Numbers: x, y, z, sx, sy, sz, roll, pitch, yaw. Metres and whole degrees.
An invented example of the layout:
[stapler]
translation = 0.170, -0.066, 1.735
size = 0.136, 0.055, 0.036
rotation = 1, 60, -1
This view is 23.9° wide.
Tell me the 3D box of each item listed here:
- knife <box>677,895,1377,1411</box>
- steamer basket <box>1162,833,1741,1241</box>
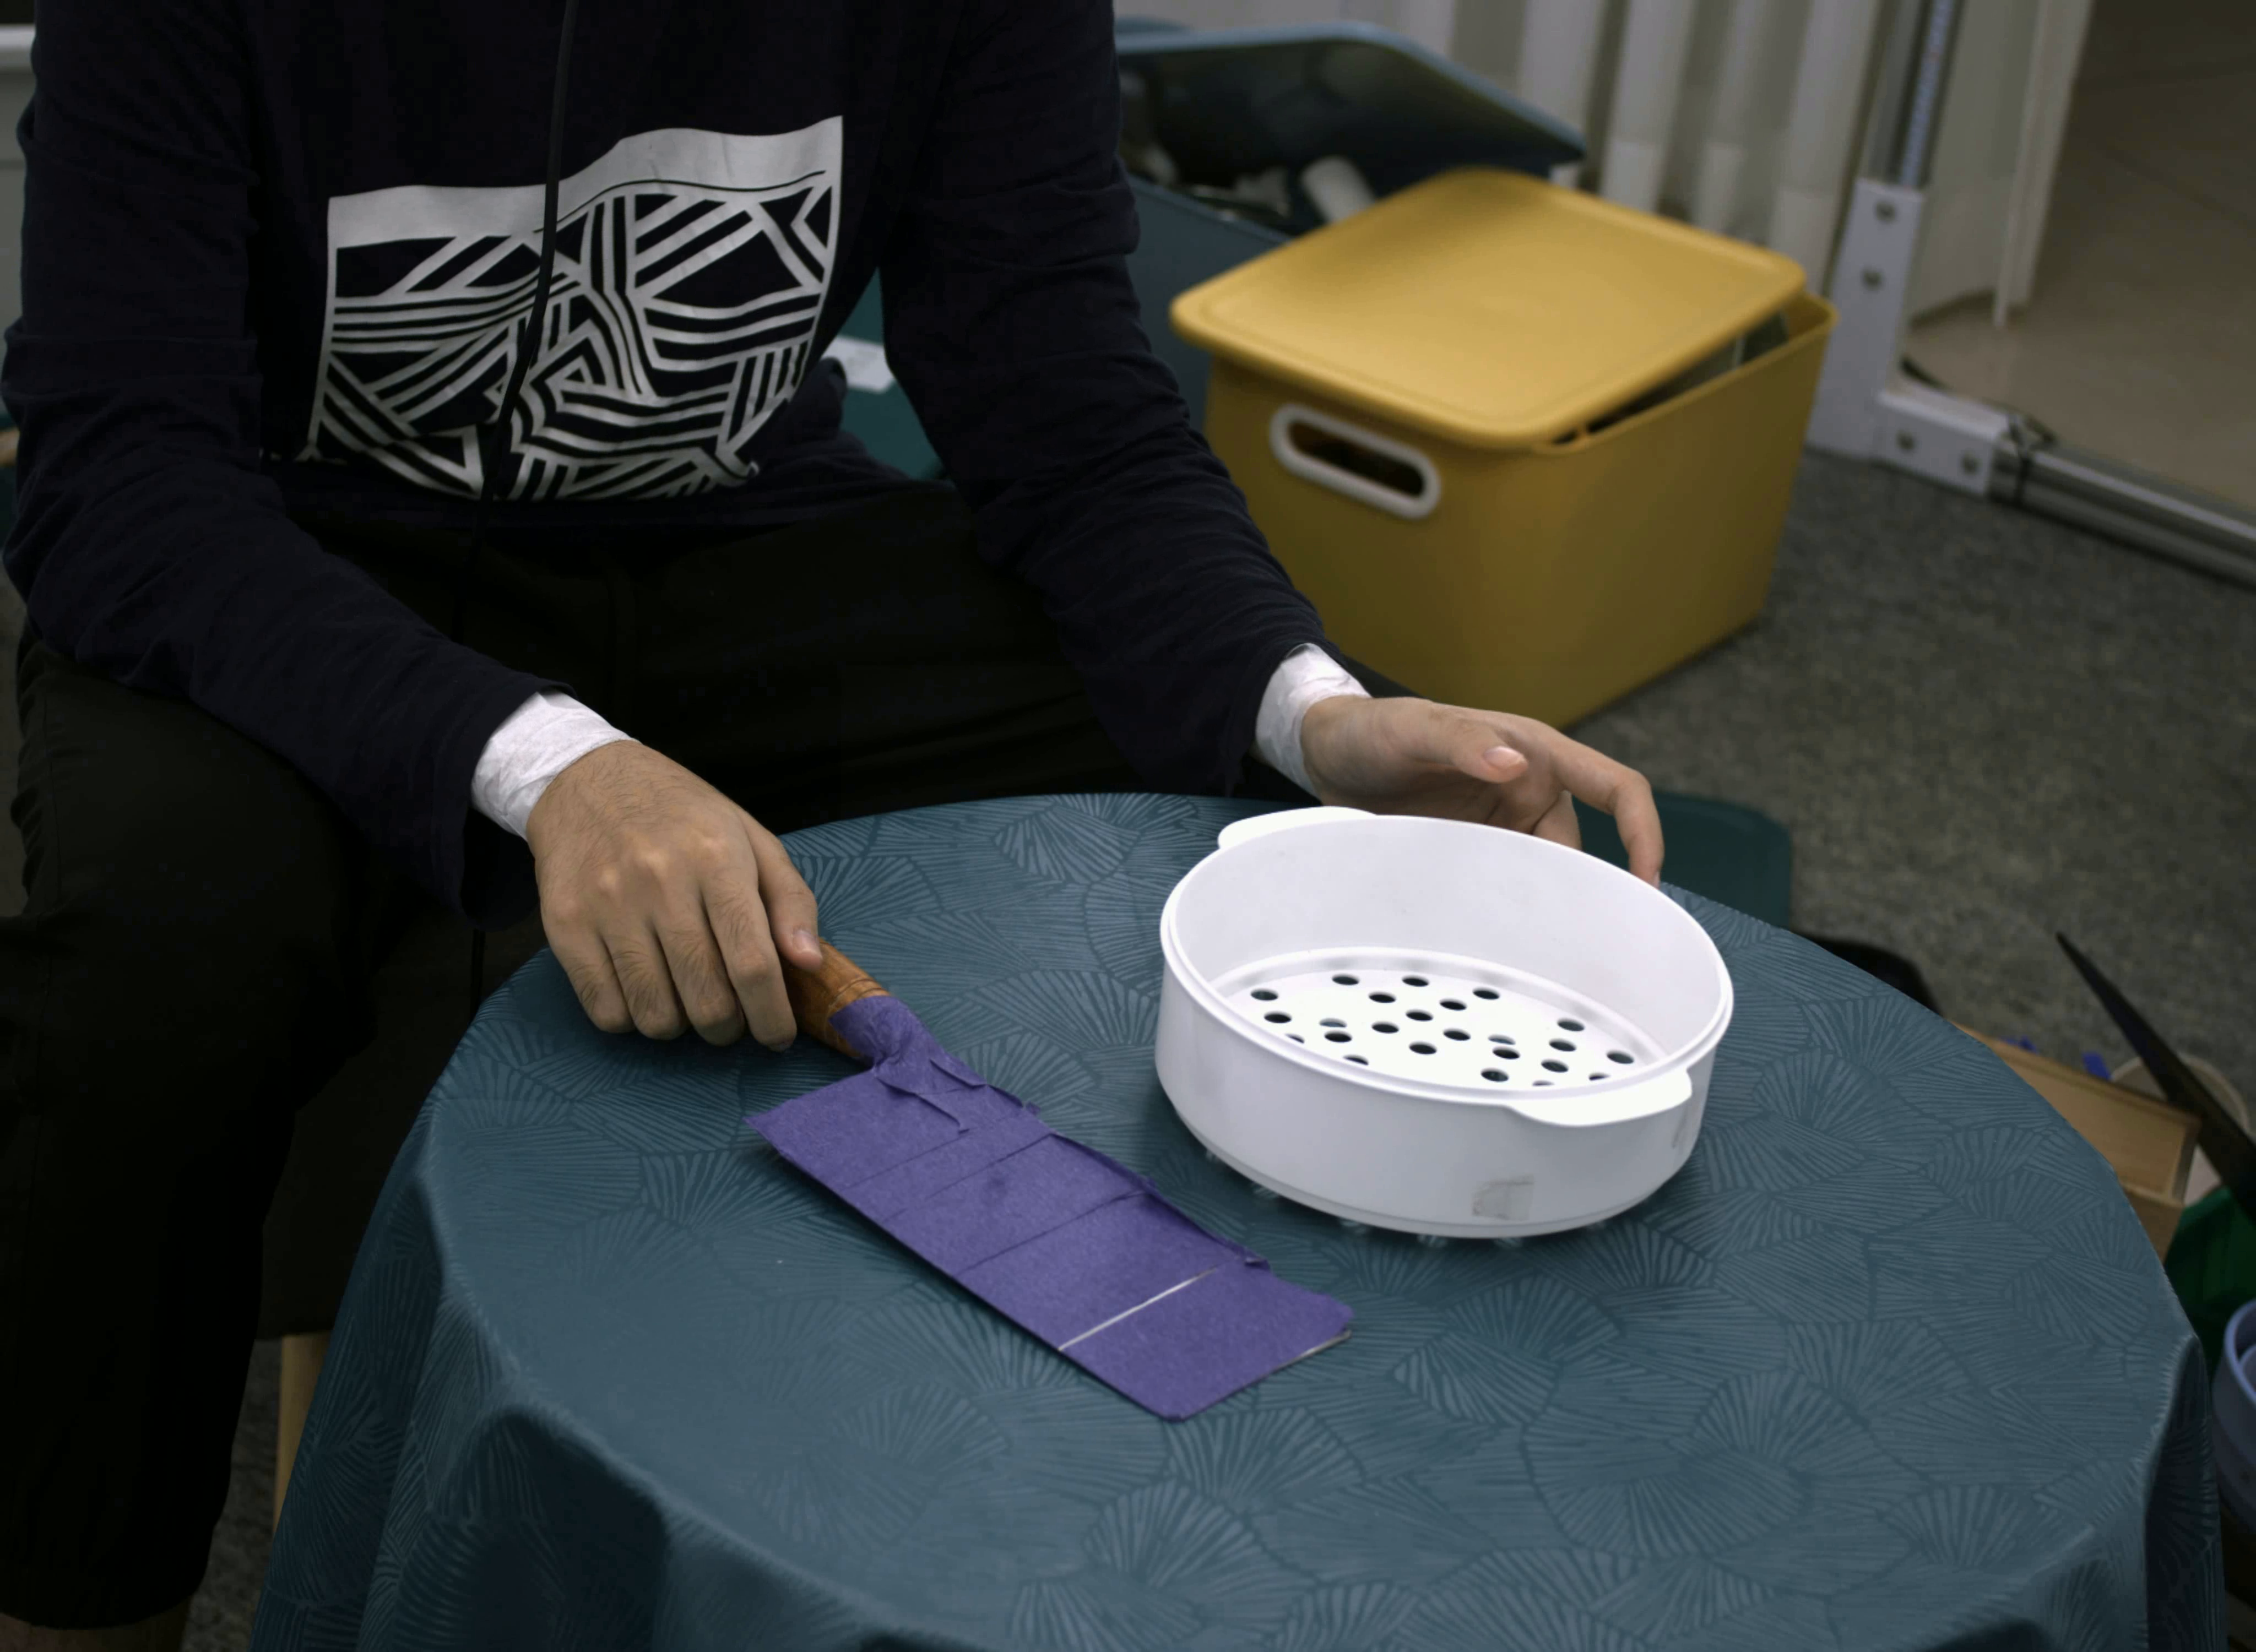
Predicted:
[knife]
translation = -0.062, 0.107, 1.796
size = 0.317, 0.032, 0.103
rotation = 29, 34, 36
[steamer basket]
translation = 0.110, 0.074, 1.857
size = 0.200, 0.069, 0.232
rotation = -8, 27, -28
